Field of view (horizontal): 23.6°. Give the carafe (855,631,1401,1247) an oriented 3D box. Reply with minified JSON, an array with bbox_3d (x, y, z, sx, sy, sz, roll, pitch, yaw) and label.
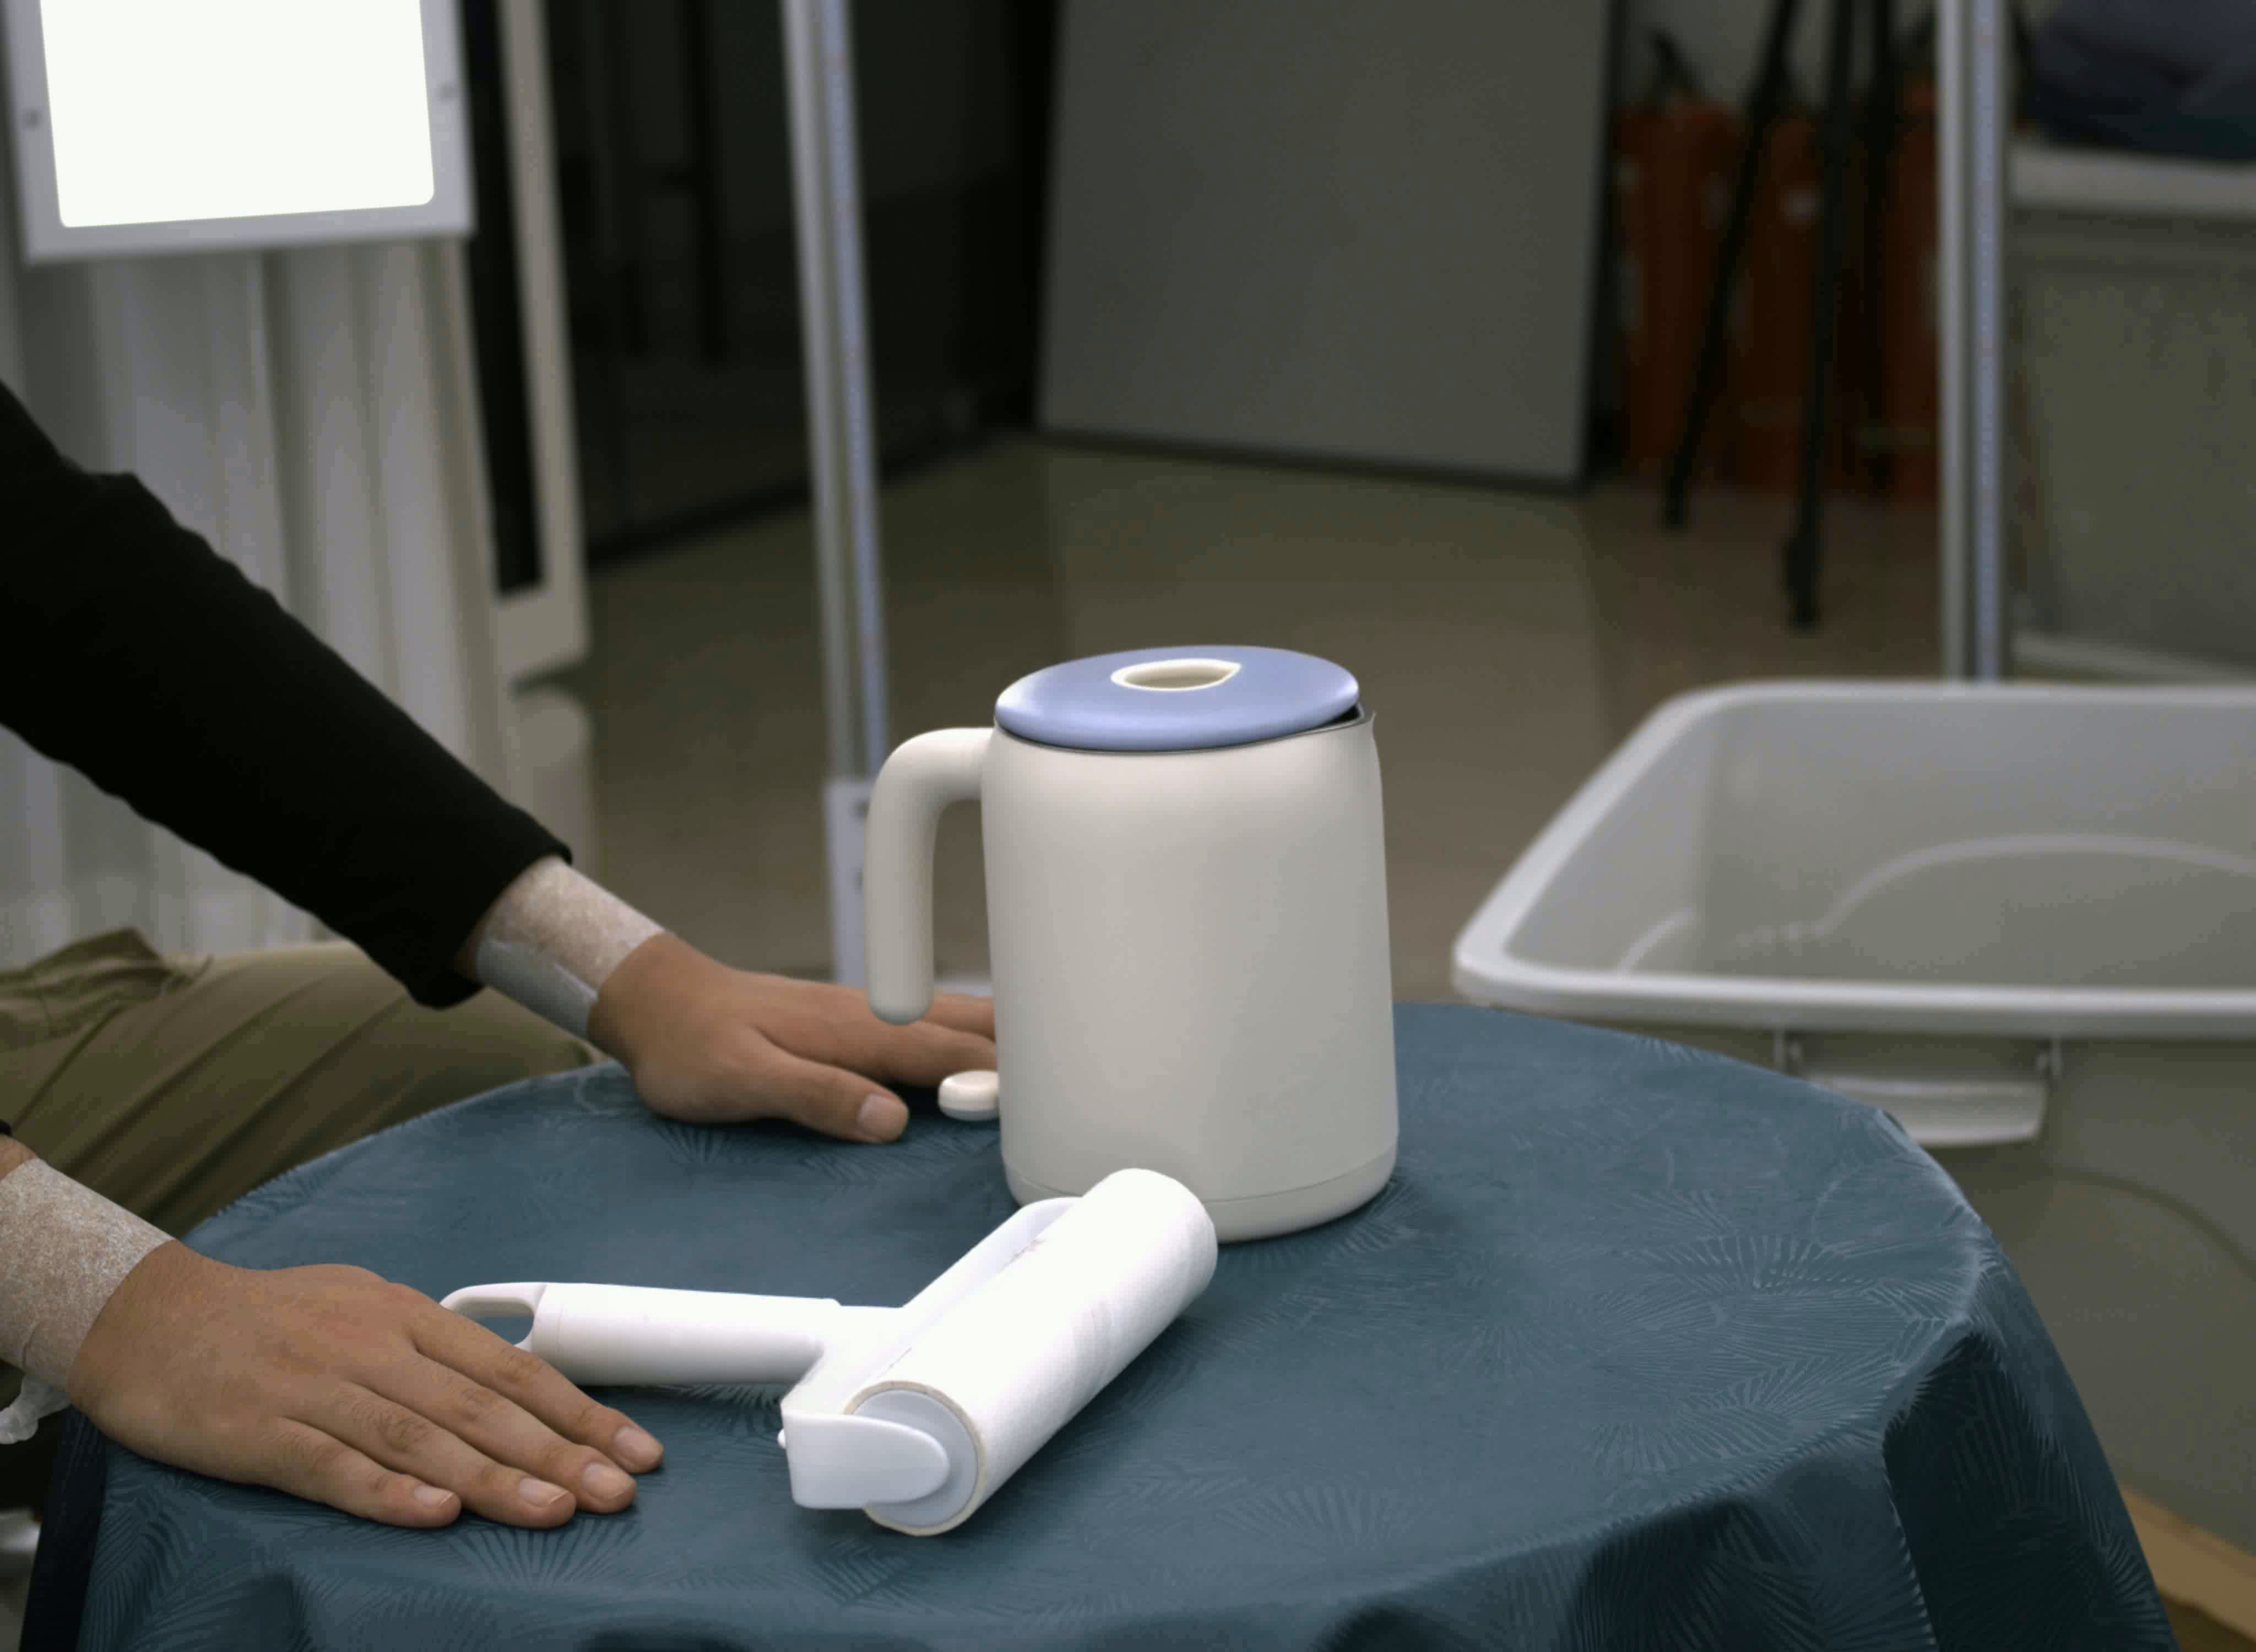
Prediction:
[{"bbox_3d":[-0.002,0.036,1.756,0.191,0.184,0.130,0,13,25],"label":"carafe"}]

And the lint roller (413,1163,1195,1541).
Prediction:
[{"bbox_3d":[-0.111,0.150,1.596,0.225,0.049,0.201,0,15,22],"label":"lint roller"}]
